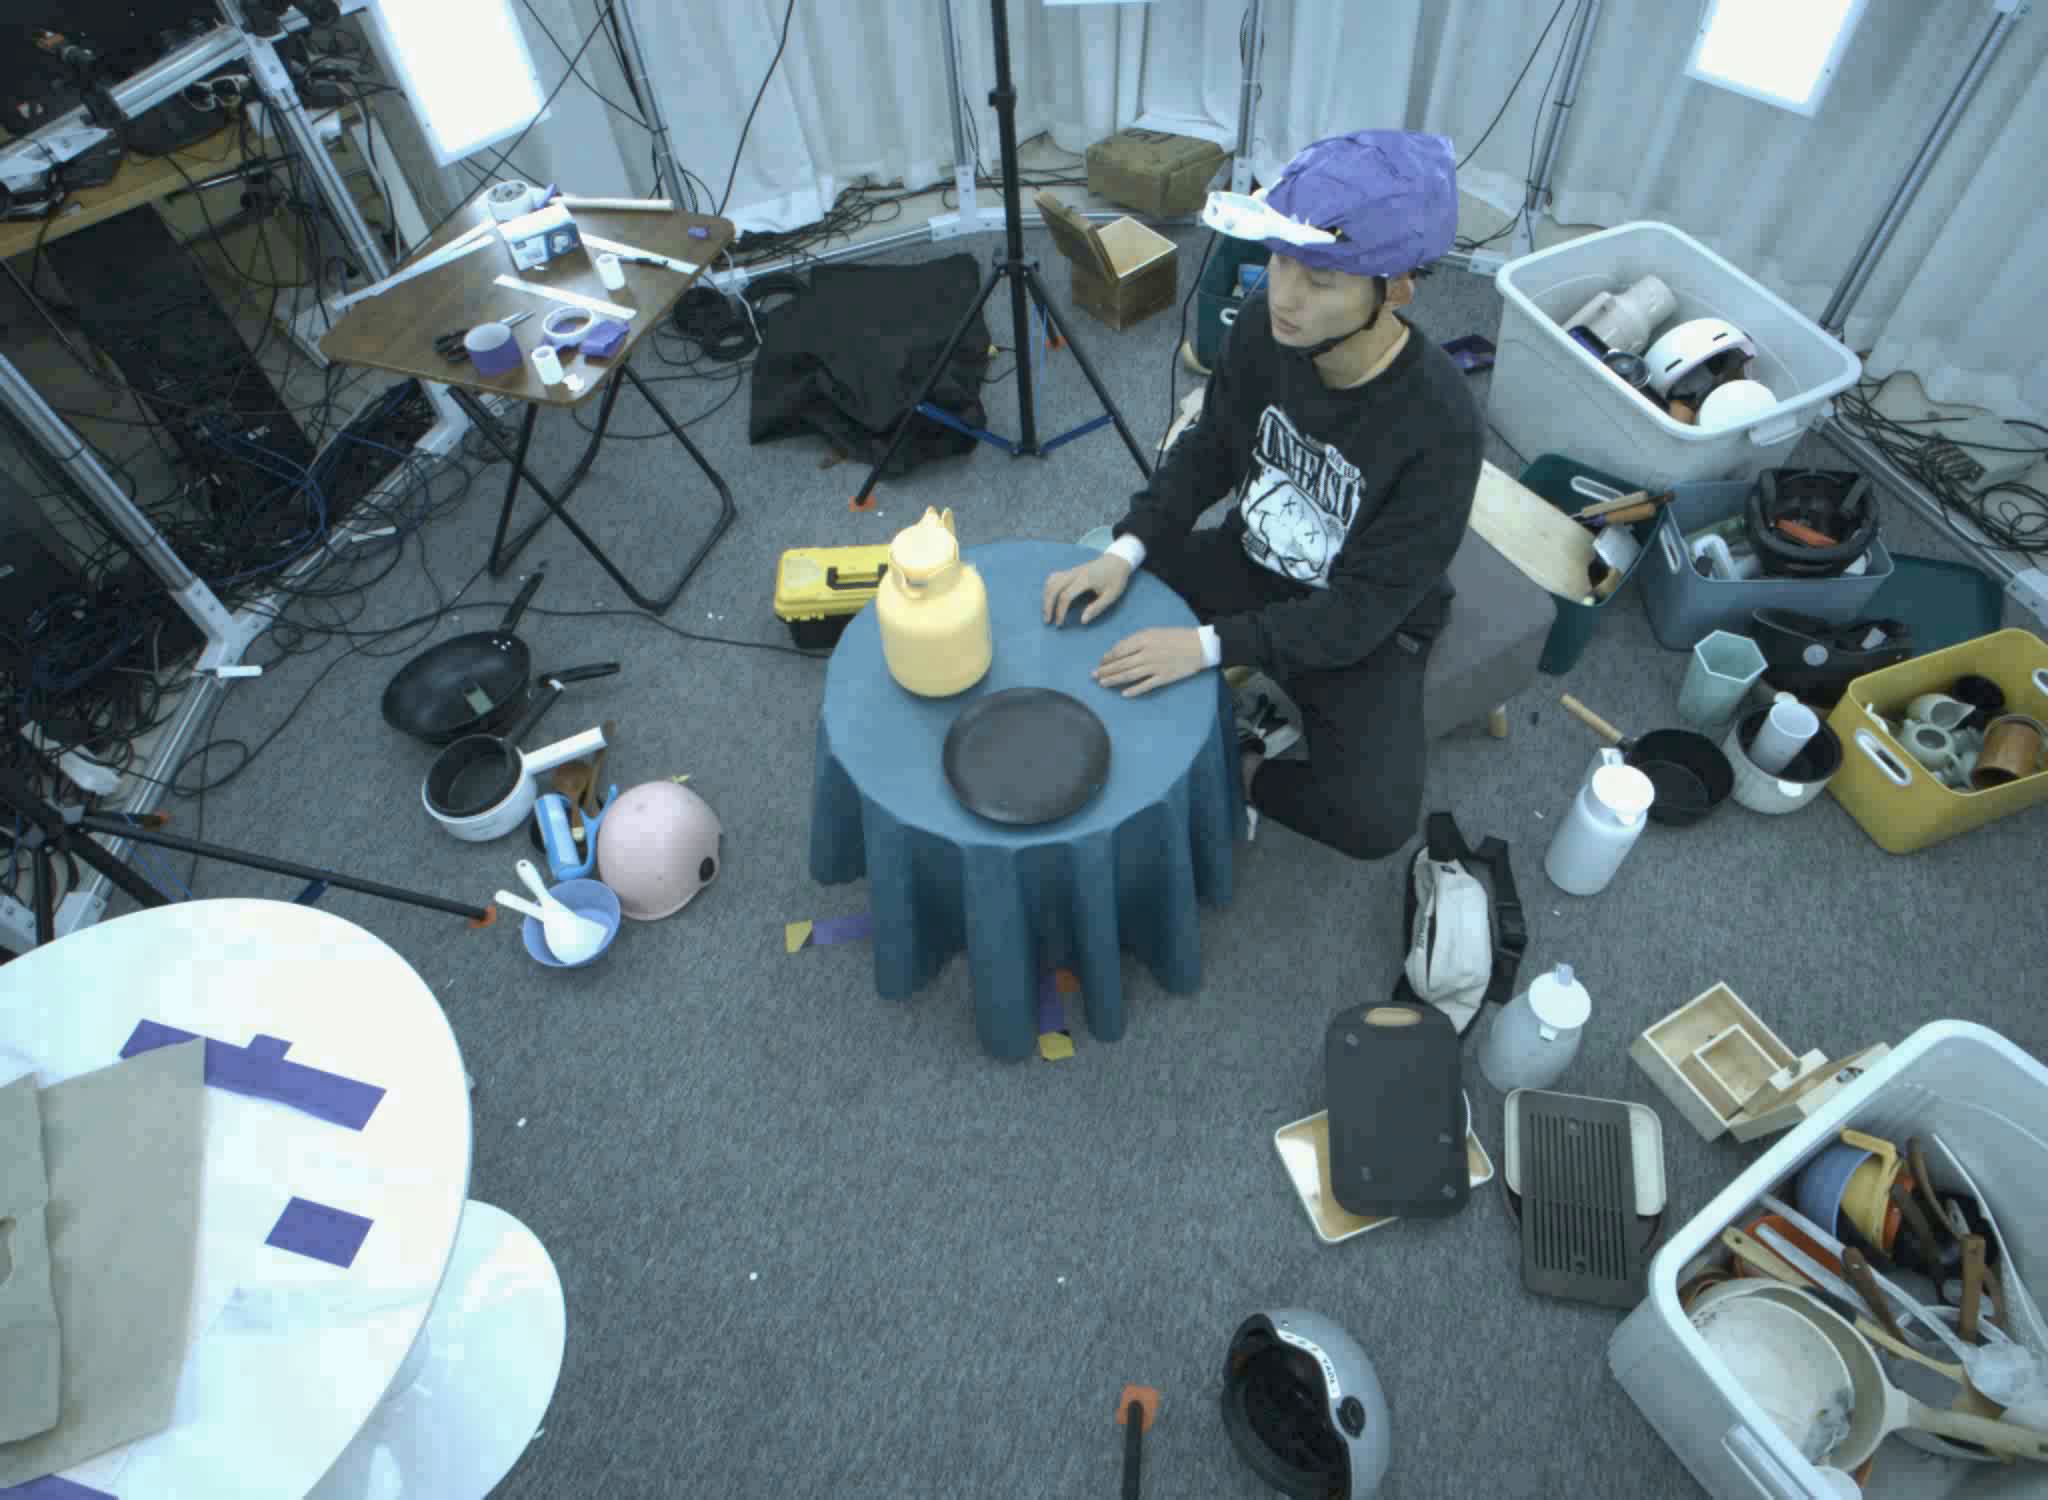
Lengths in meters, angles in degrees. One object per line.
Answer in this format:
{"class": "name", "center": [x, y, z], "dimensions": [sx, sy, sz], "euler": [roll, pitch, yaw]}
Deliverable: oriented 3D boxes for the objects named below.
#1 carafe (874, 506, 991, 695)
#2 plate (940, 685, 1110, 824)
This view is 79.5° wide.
{"class": "carafe", "center": [-0.130, -0.224, 1.786], "dimensions": [0.163, 0.263, 0.201], "euler": [9, 57, 7]}
{"class": "plate", "center": [0.002, 0.008, 1.763], "dimensions": [0.244, 0.023, 0.242], "euler": [0, 55, 2]}
